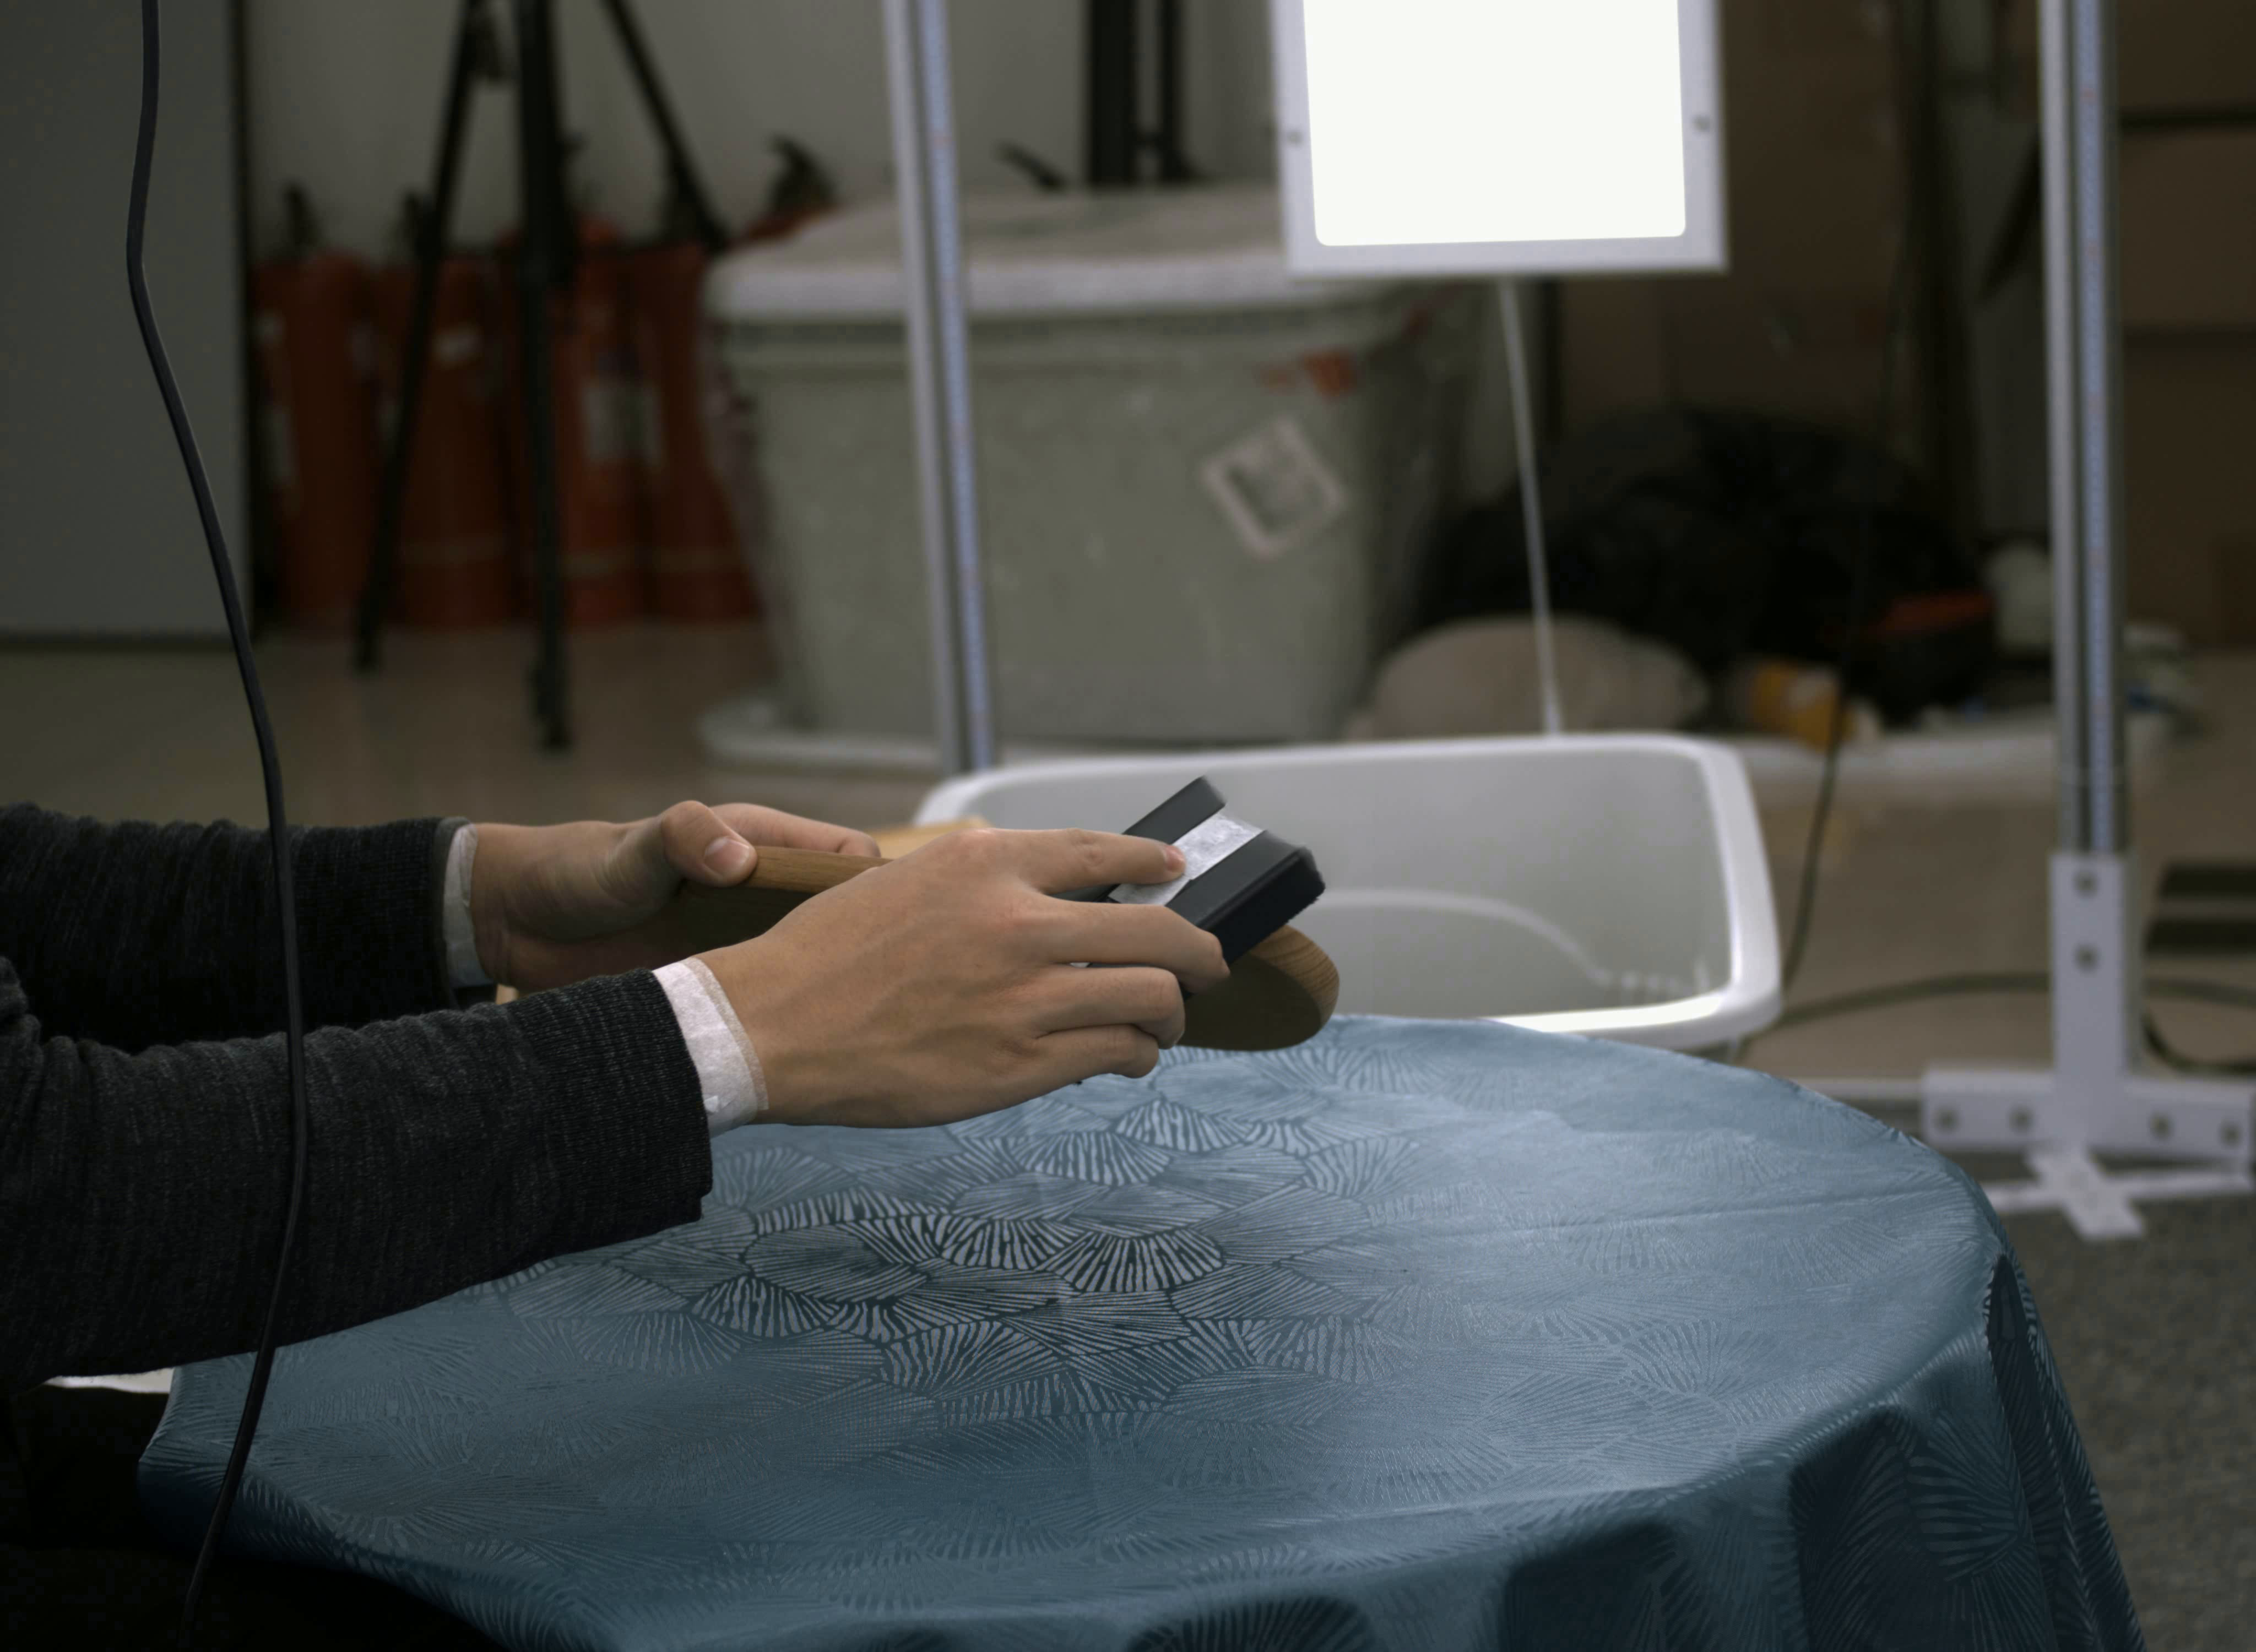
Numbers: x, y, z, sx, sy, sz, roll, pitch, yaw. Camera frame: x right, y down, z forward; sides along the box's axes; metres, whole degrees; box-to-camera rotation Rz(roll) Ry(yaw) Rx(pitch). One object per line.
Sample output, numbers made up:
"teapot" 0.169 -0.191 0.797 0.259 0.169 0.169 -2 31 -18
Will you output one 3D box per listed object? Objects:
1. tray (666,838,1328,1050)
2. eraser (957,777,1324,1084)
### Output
"tray" -0.046 0.041 1.837 0.234 0.101 0.020 4 61 20
"eraser" 0.005 0.031 1.734 0.054 0.030 0.123 27 47 29
